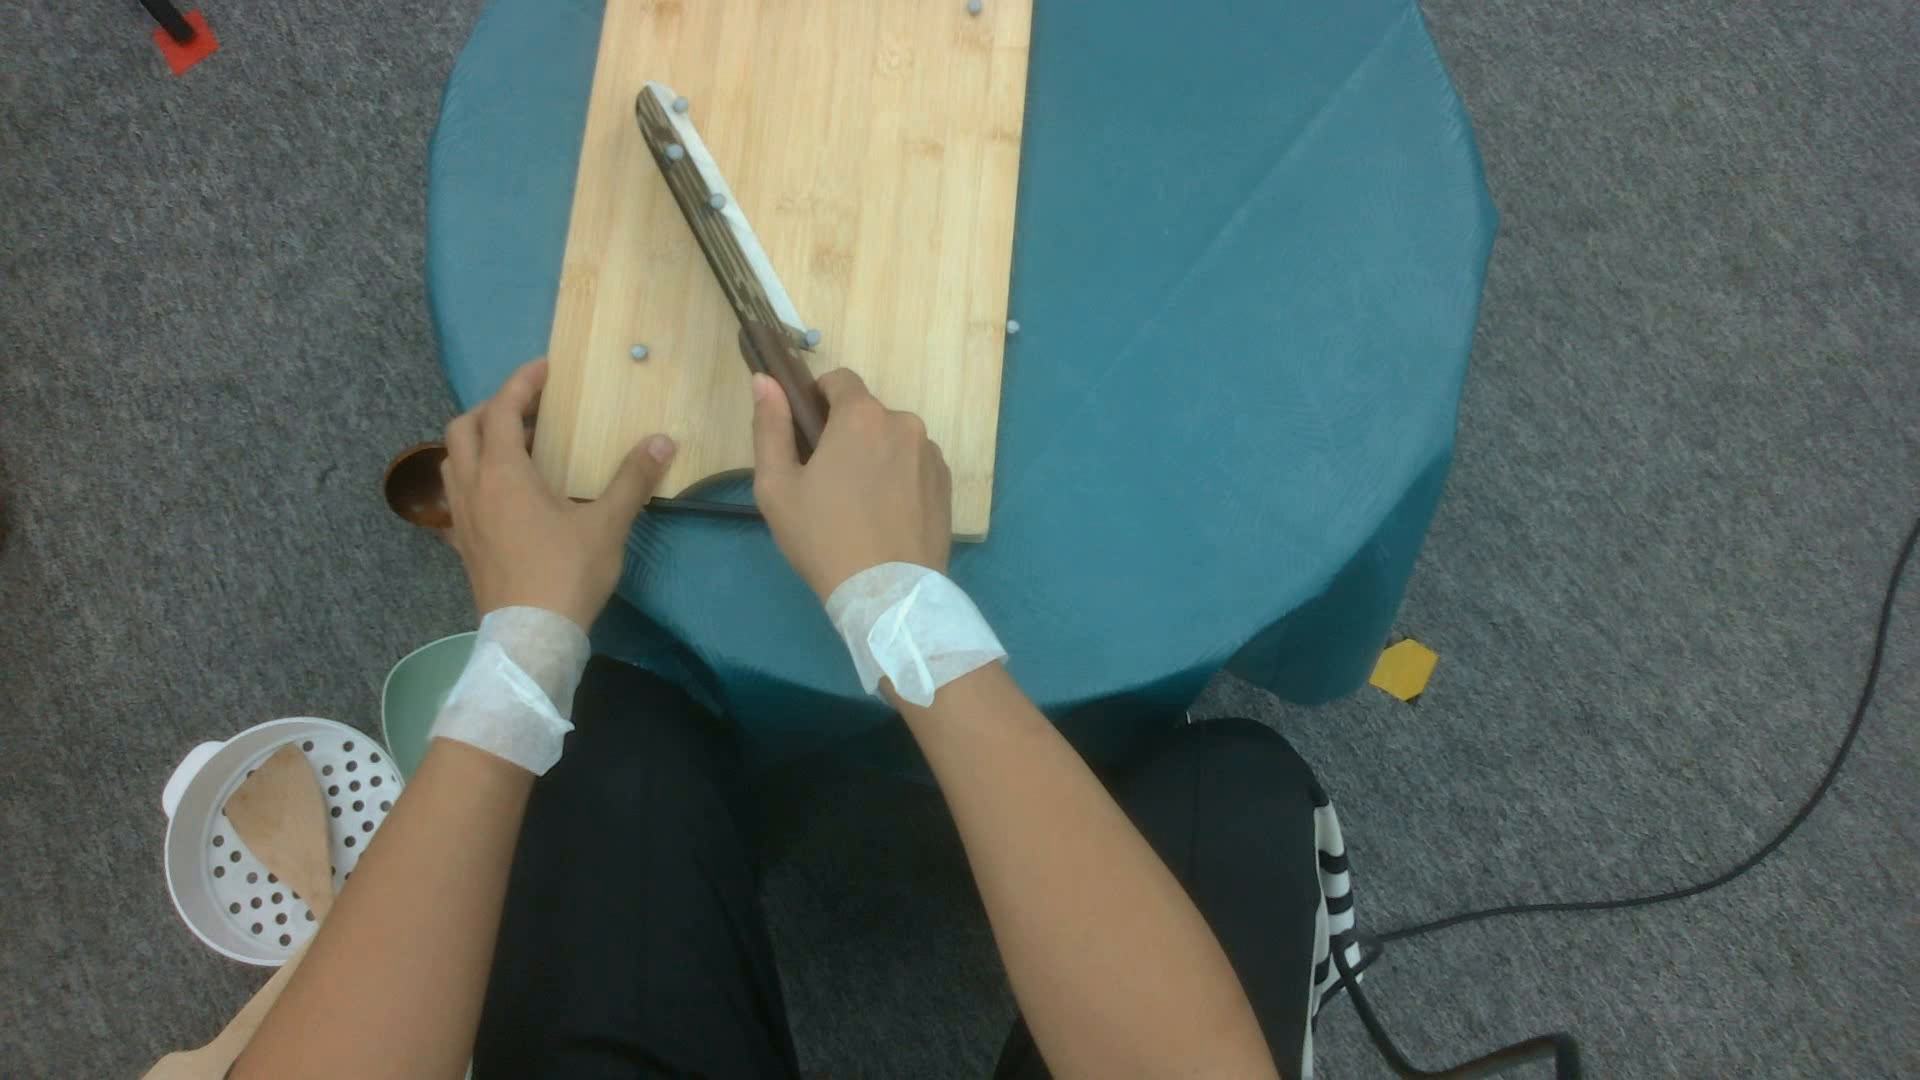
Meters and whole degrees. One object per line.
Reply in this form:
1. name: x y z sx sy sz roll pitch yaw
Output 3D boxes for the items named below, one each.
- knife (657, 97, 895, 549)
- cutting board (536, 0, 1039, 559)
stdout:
1. knife: -0.097 -0.124 0.720 0.024 0.068 0.300 -34 73 20
2. cutting board: -0.089 -0.167 0.778 0.251 0.023 0.349 4 75 -1
